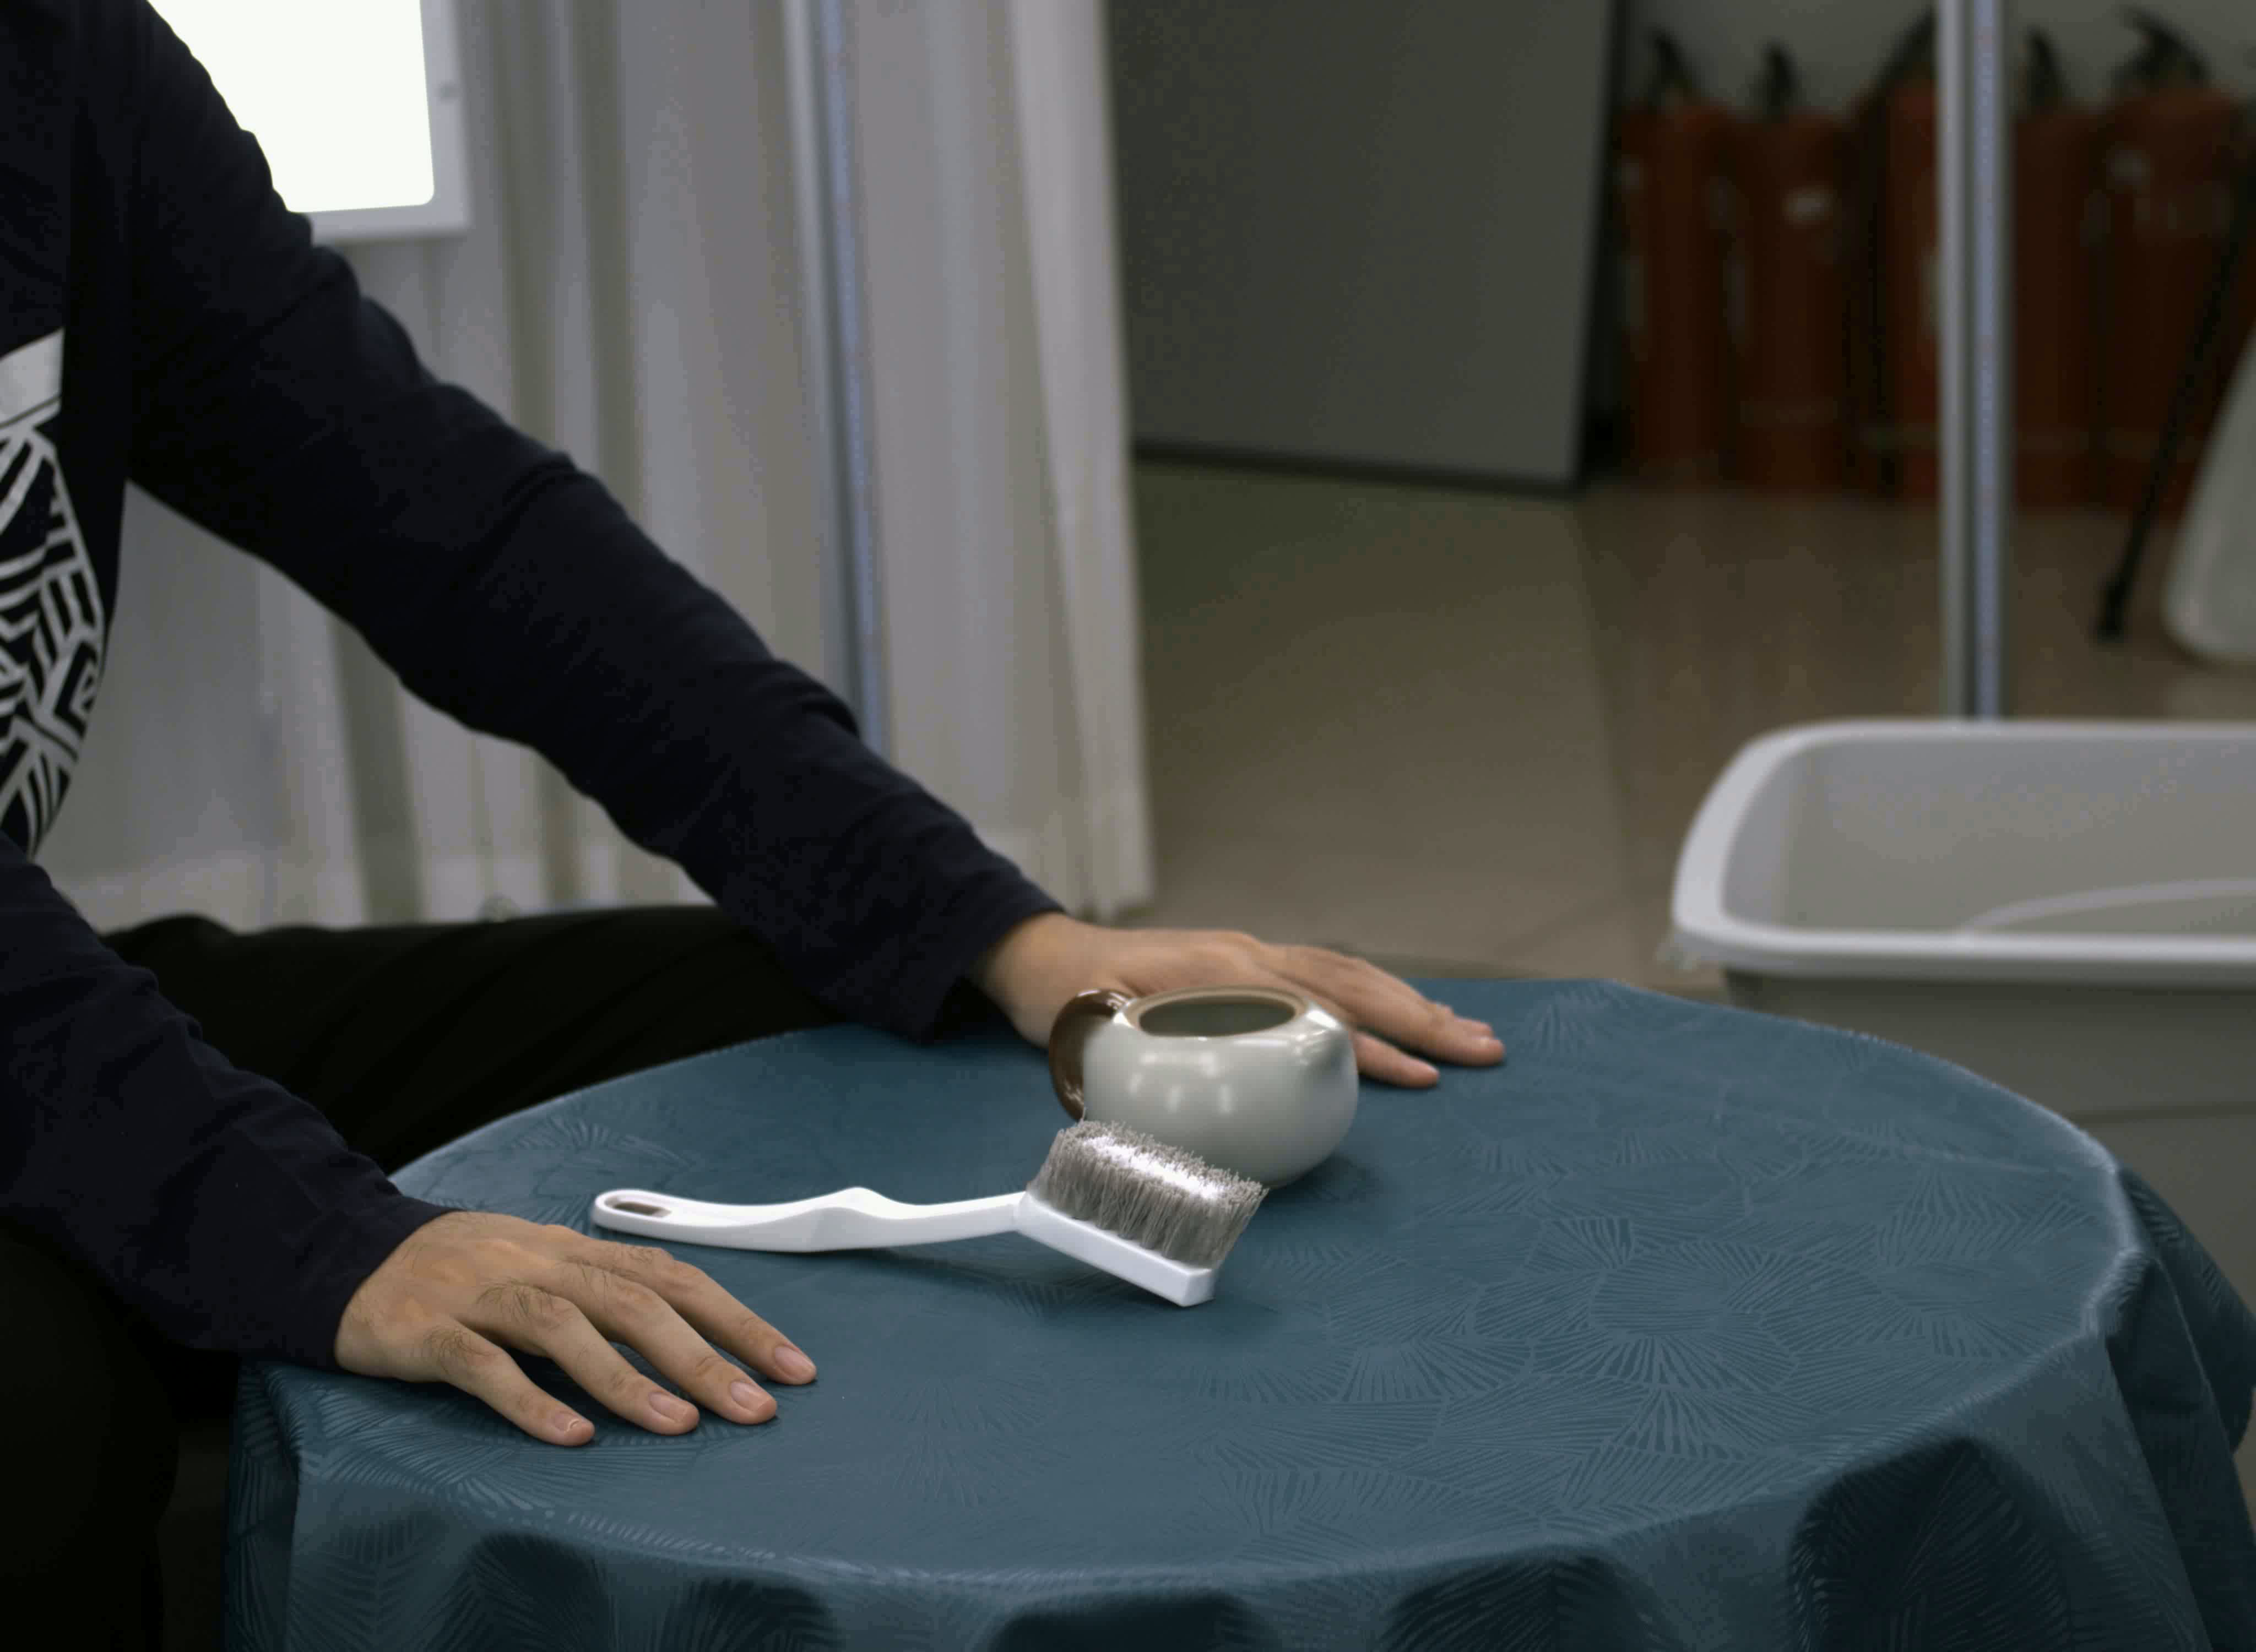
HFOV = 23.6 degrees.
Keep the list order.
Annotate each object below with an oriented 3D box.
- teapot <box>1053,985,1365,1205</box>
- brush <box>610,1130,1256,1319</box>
[{"bbox_3d":[0.025,0.088,1.787,0.129,0.060,0.090,9,22,38],"label":"teapot"},{"bbox_3d":[-0.068,0.116,1.717,0.245,0.051,0.034,5,20,33],"label":"brush"}]
